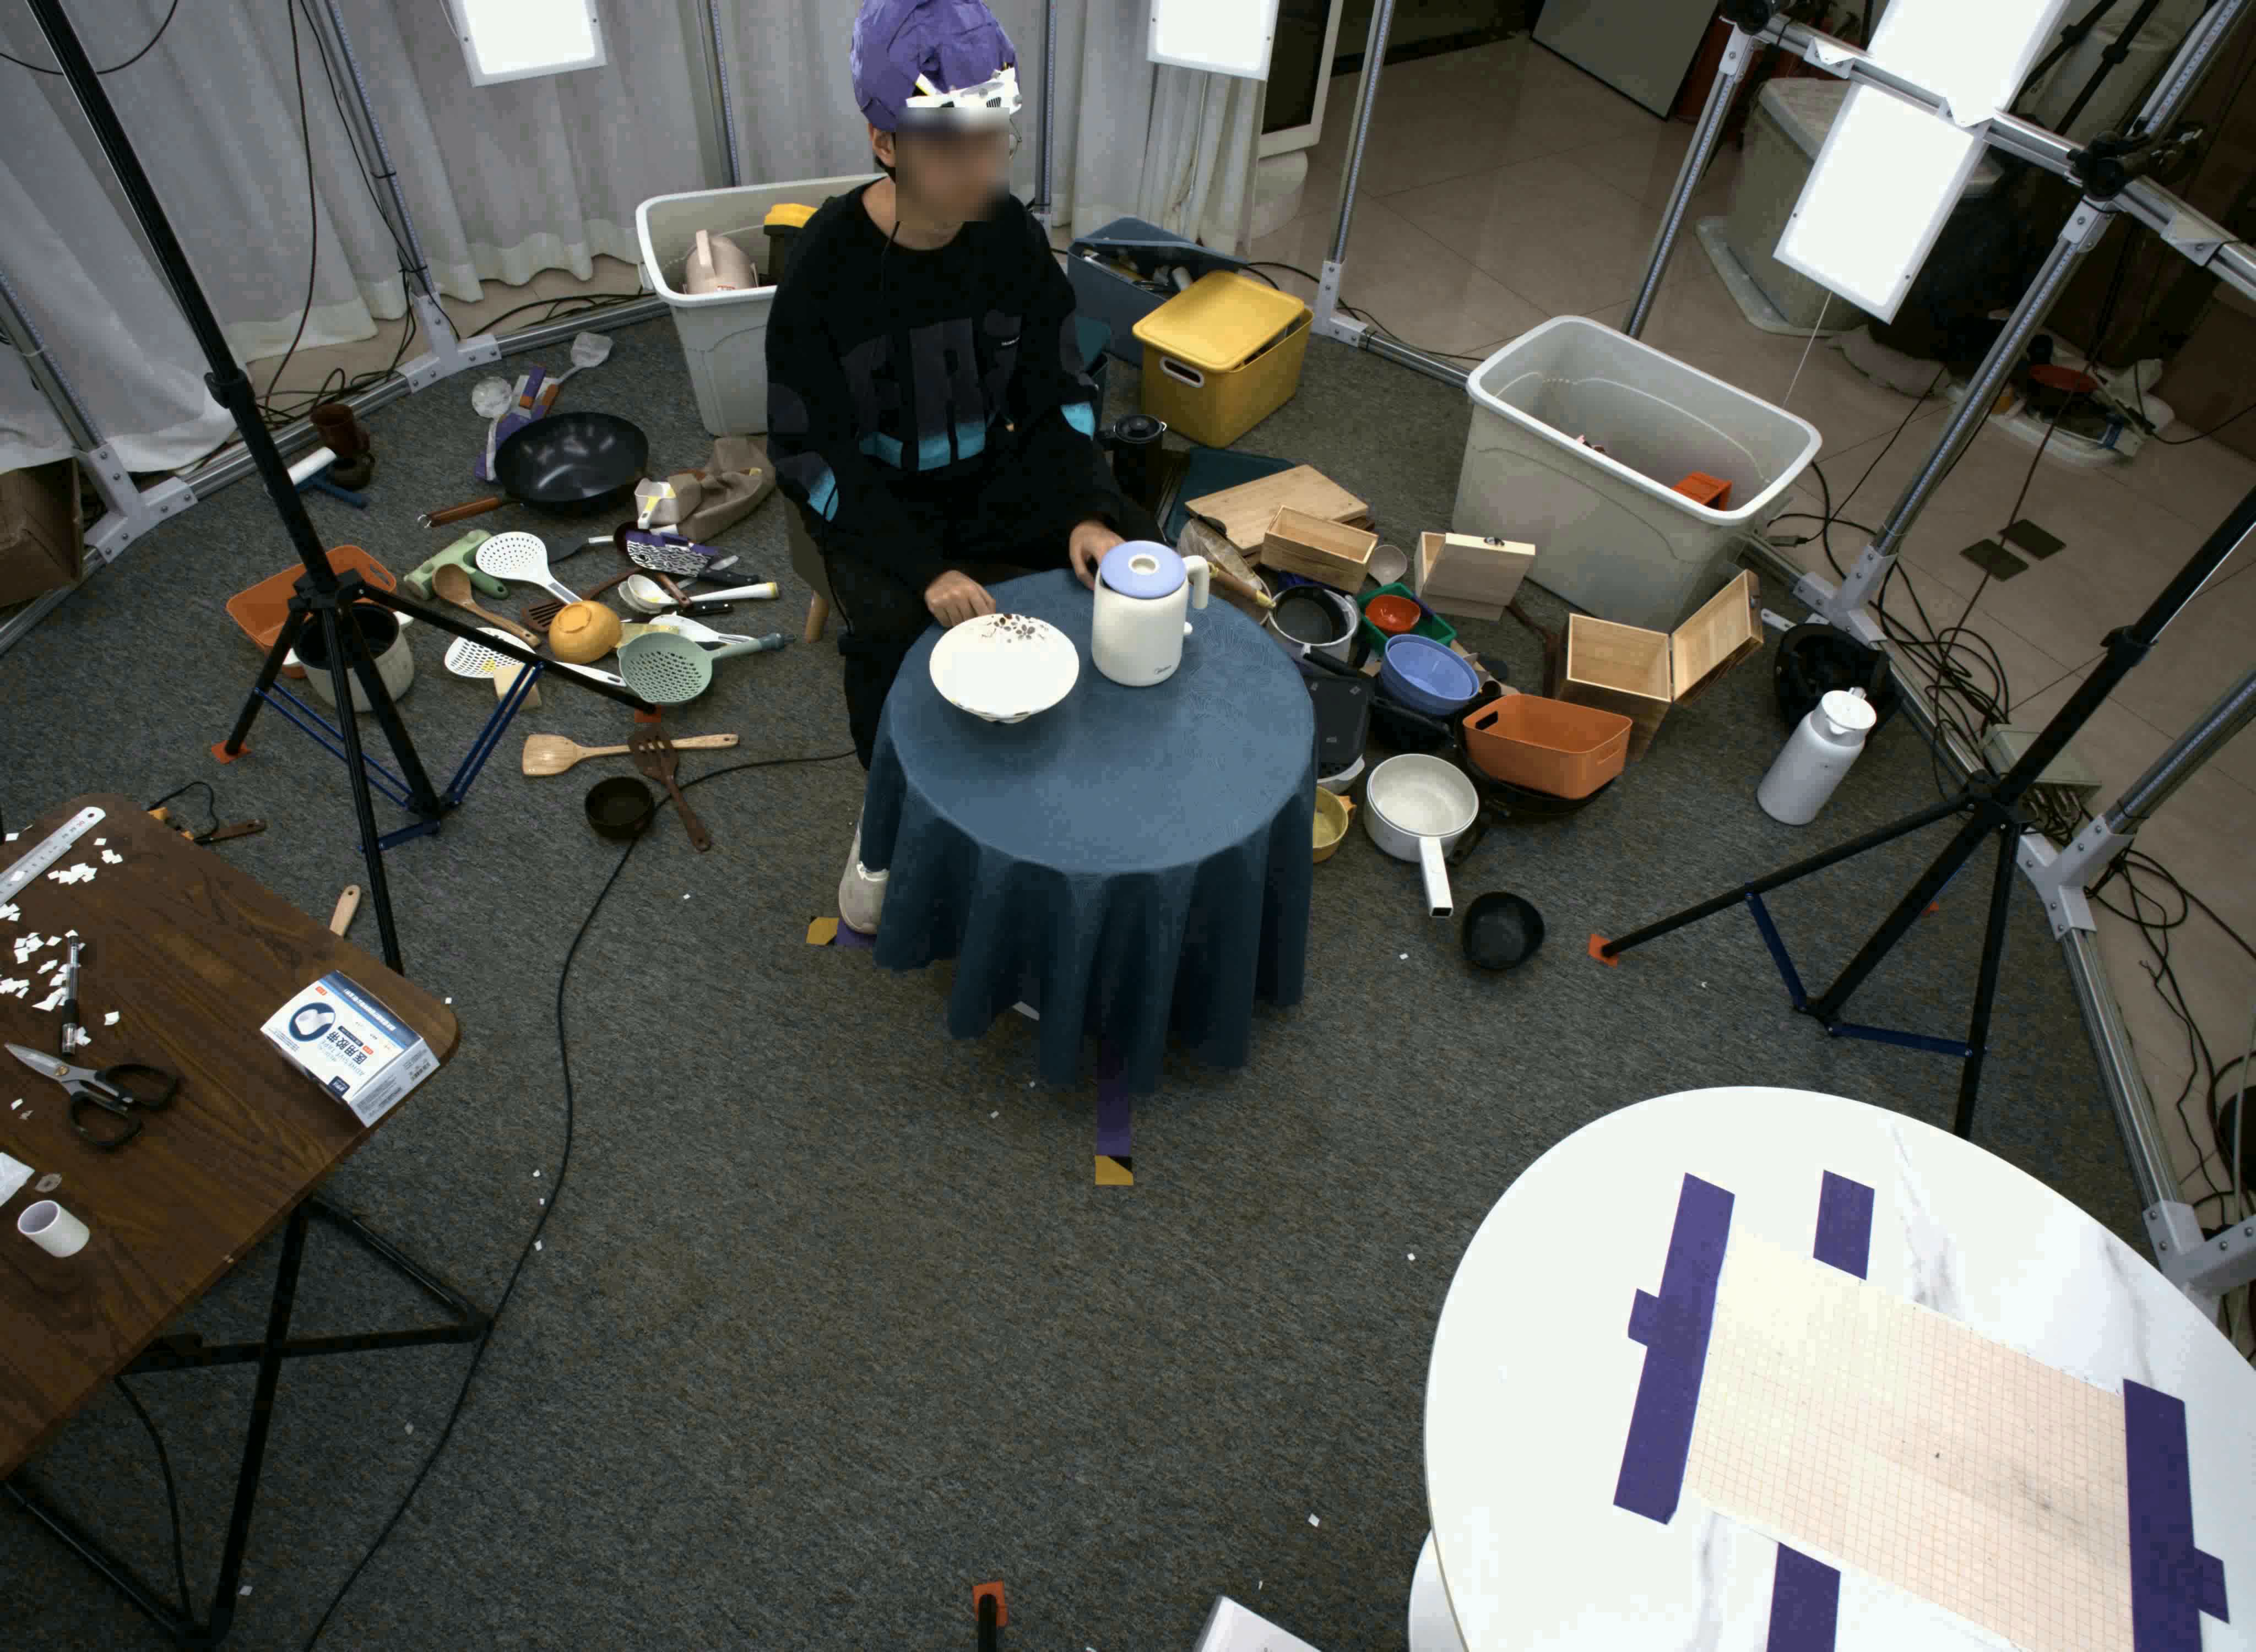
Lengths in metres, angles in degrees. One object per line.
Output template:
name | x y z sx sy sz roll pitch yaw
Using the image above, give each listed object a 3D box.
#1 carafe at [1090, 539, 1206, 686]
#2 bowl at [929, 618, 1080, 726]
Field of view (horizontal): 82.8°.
carafe | 0.035 -0.311 1.830 0.192 0.178 0.135 -26 57 -26
bowl | -0.169 -0.196 1.779 0.204 0.076 0.209 1 47 -1
